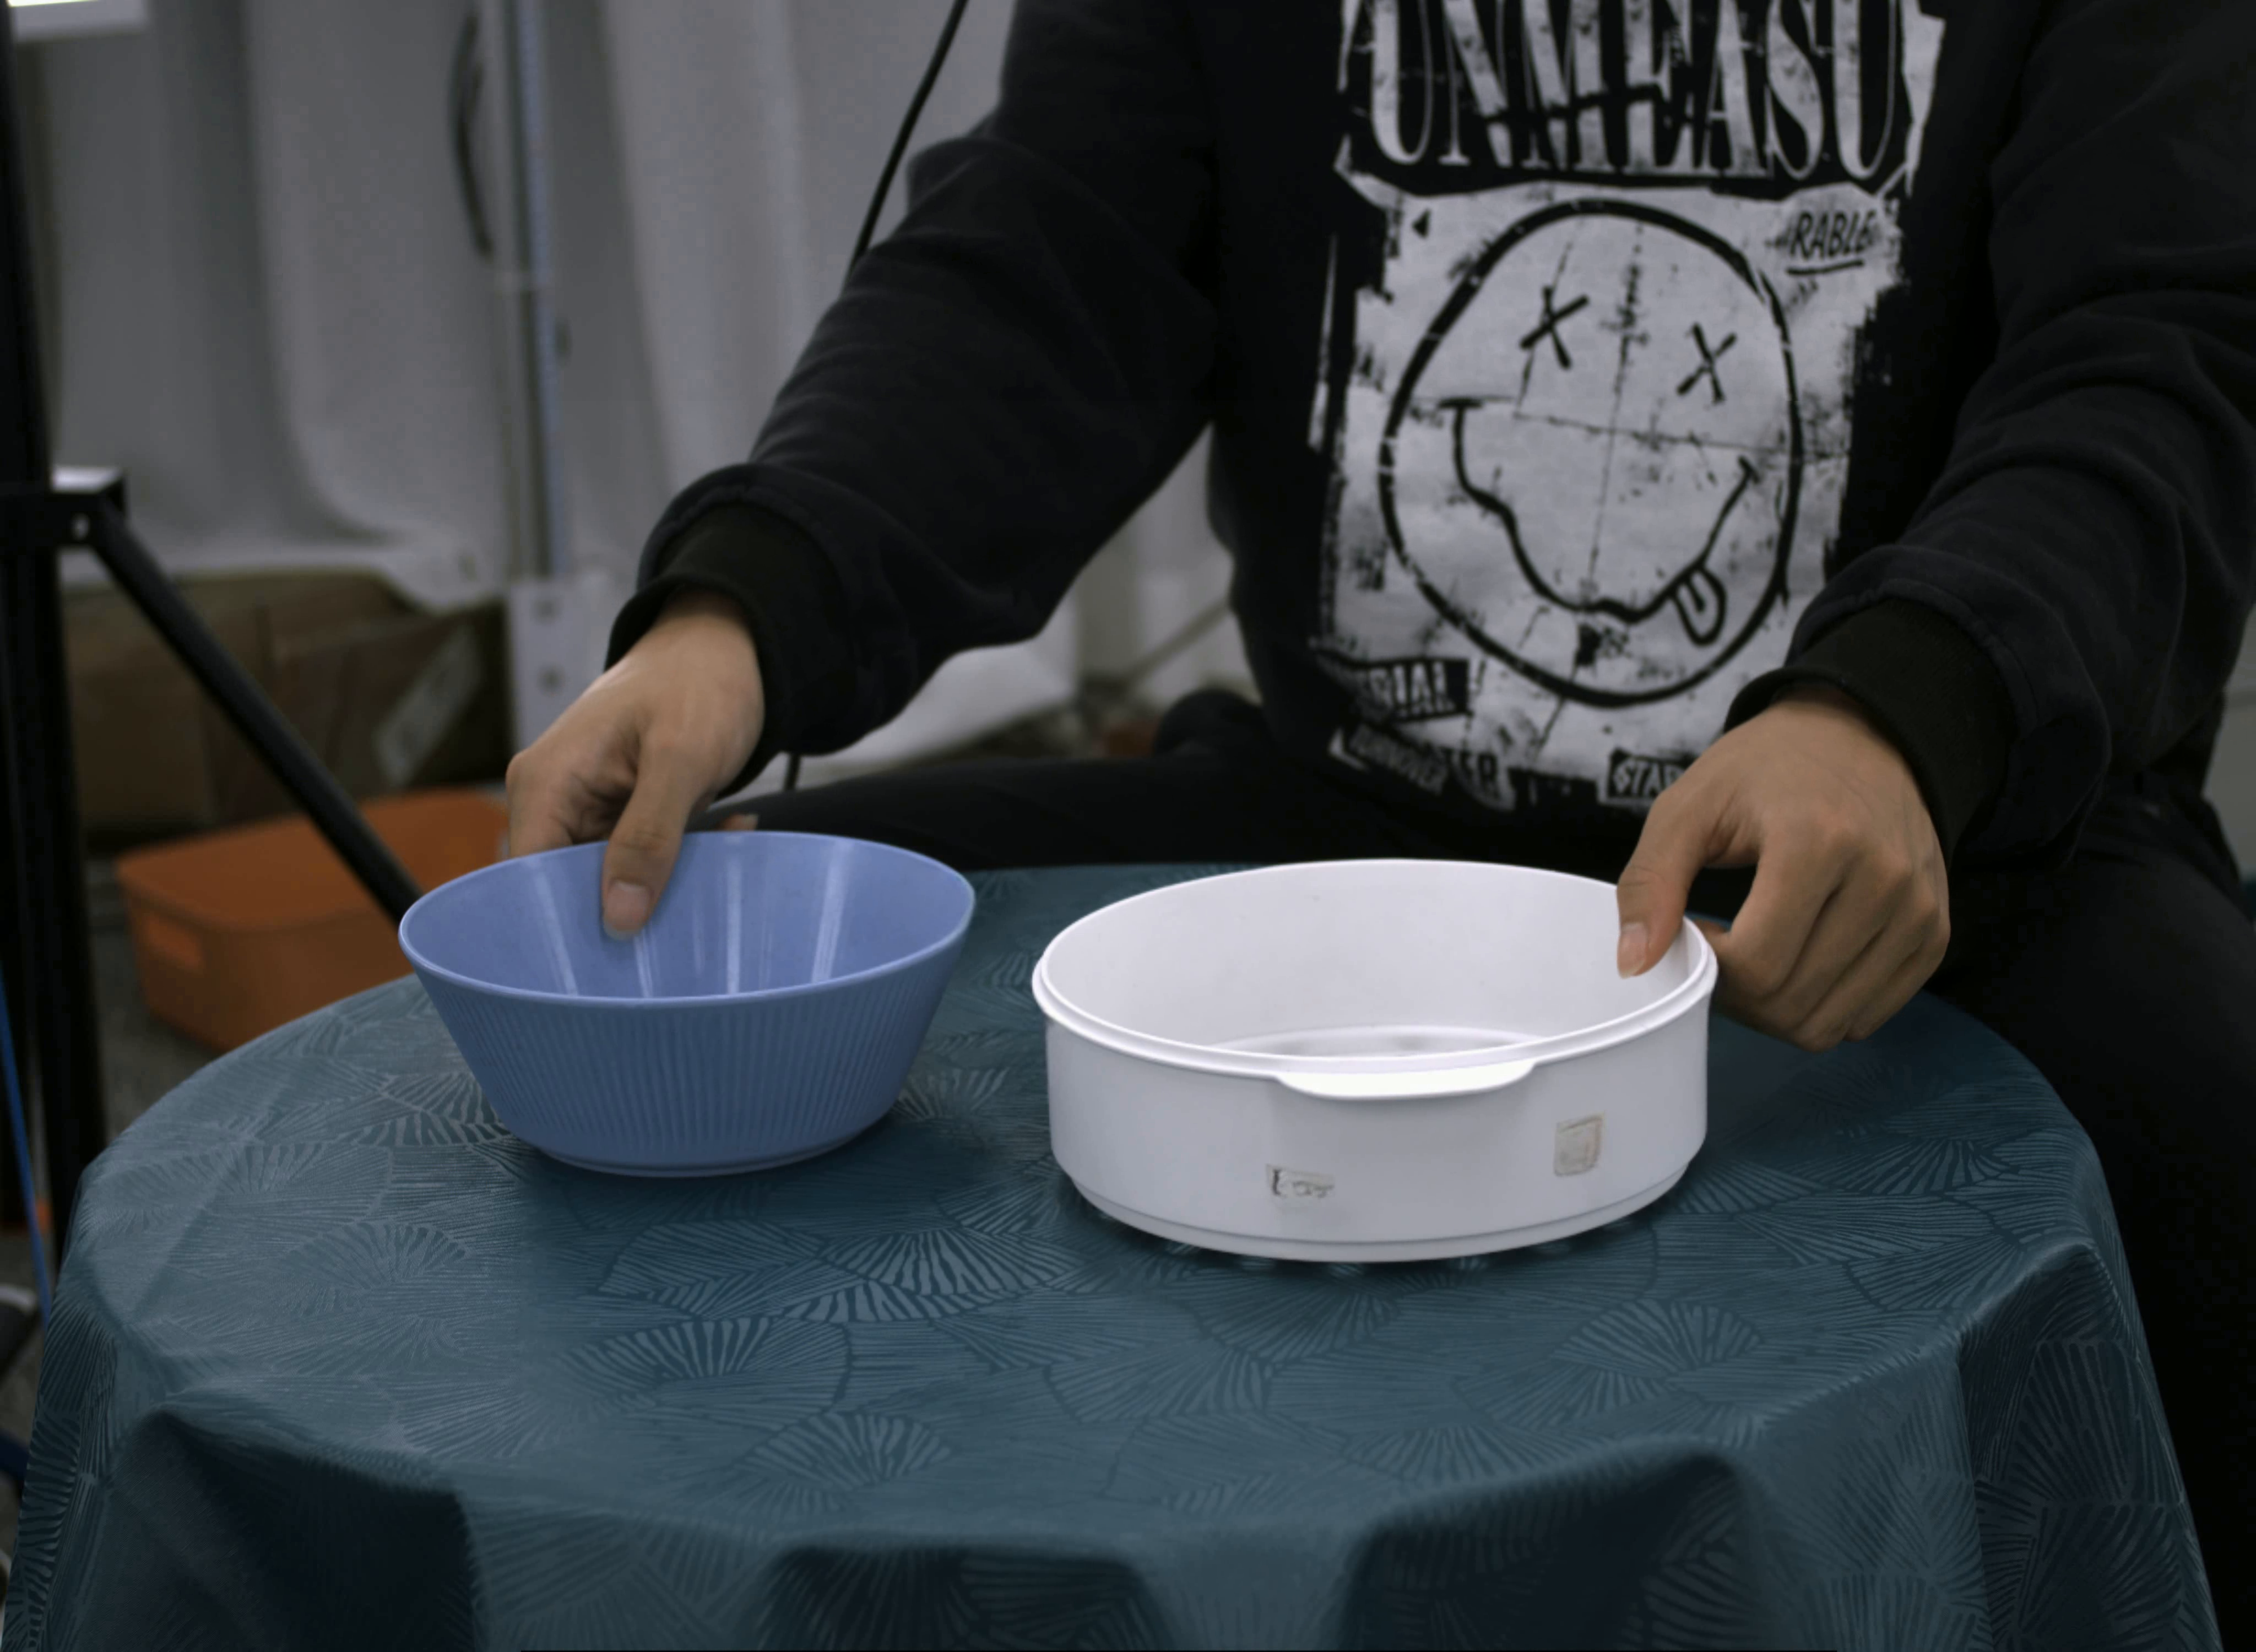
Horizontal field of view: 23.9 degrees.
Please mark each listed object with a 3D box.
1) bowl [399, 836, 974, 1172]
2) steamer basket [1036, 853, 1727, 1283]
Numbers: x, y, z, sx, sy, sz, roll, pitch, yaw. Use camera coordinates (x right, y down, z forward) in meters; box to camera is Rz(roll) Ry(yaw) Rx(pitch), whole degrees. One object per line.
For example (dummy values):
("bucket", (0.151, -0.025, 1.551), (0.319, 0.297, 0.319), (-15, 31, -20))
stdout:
("bowl", (-0.134, 0.057, 1.632), (0.175, 0.070, 0.177), (-2, 16, -1))
("steamer basket", (0.074, 0.071, 1.553), (0.201, 0.069, 0.232), (-3, 18, -2))
